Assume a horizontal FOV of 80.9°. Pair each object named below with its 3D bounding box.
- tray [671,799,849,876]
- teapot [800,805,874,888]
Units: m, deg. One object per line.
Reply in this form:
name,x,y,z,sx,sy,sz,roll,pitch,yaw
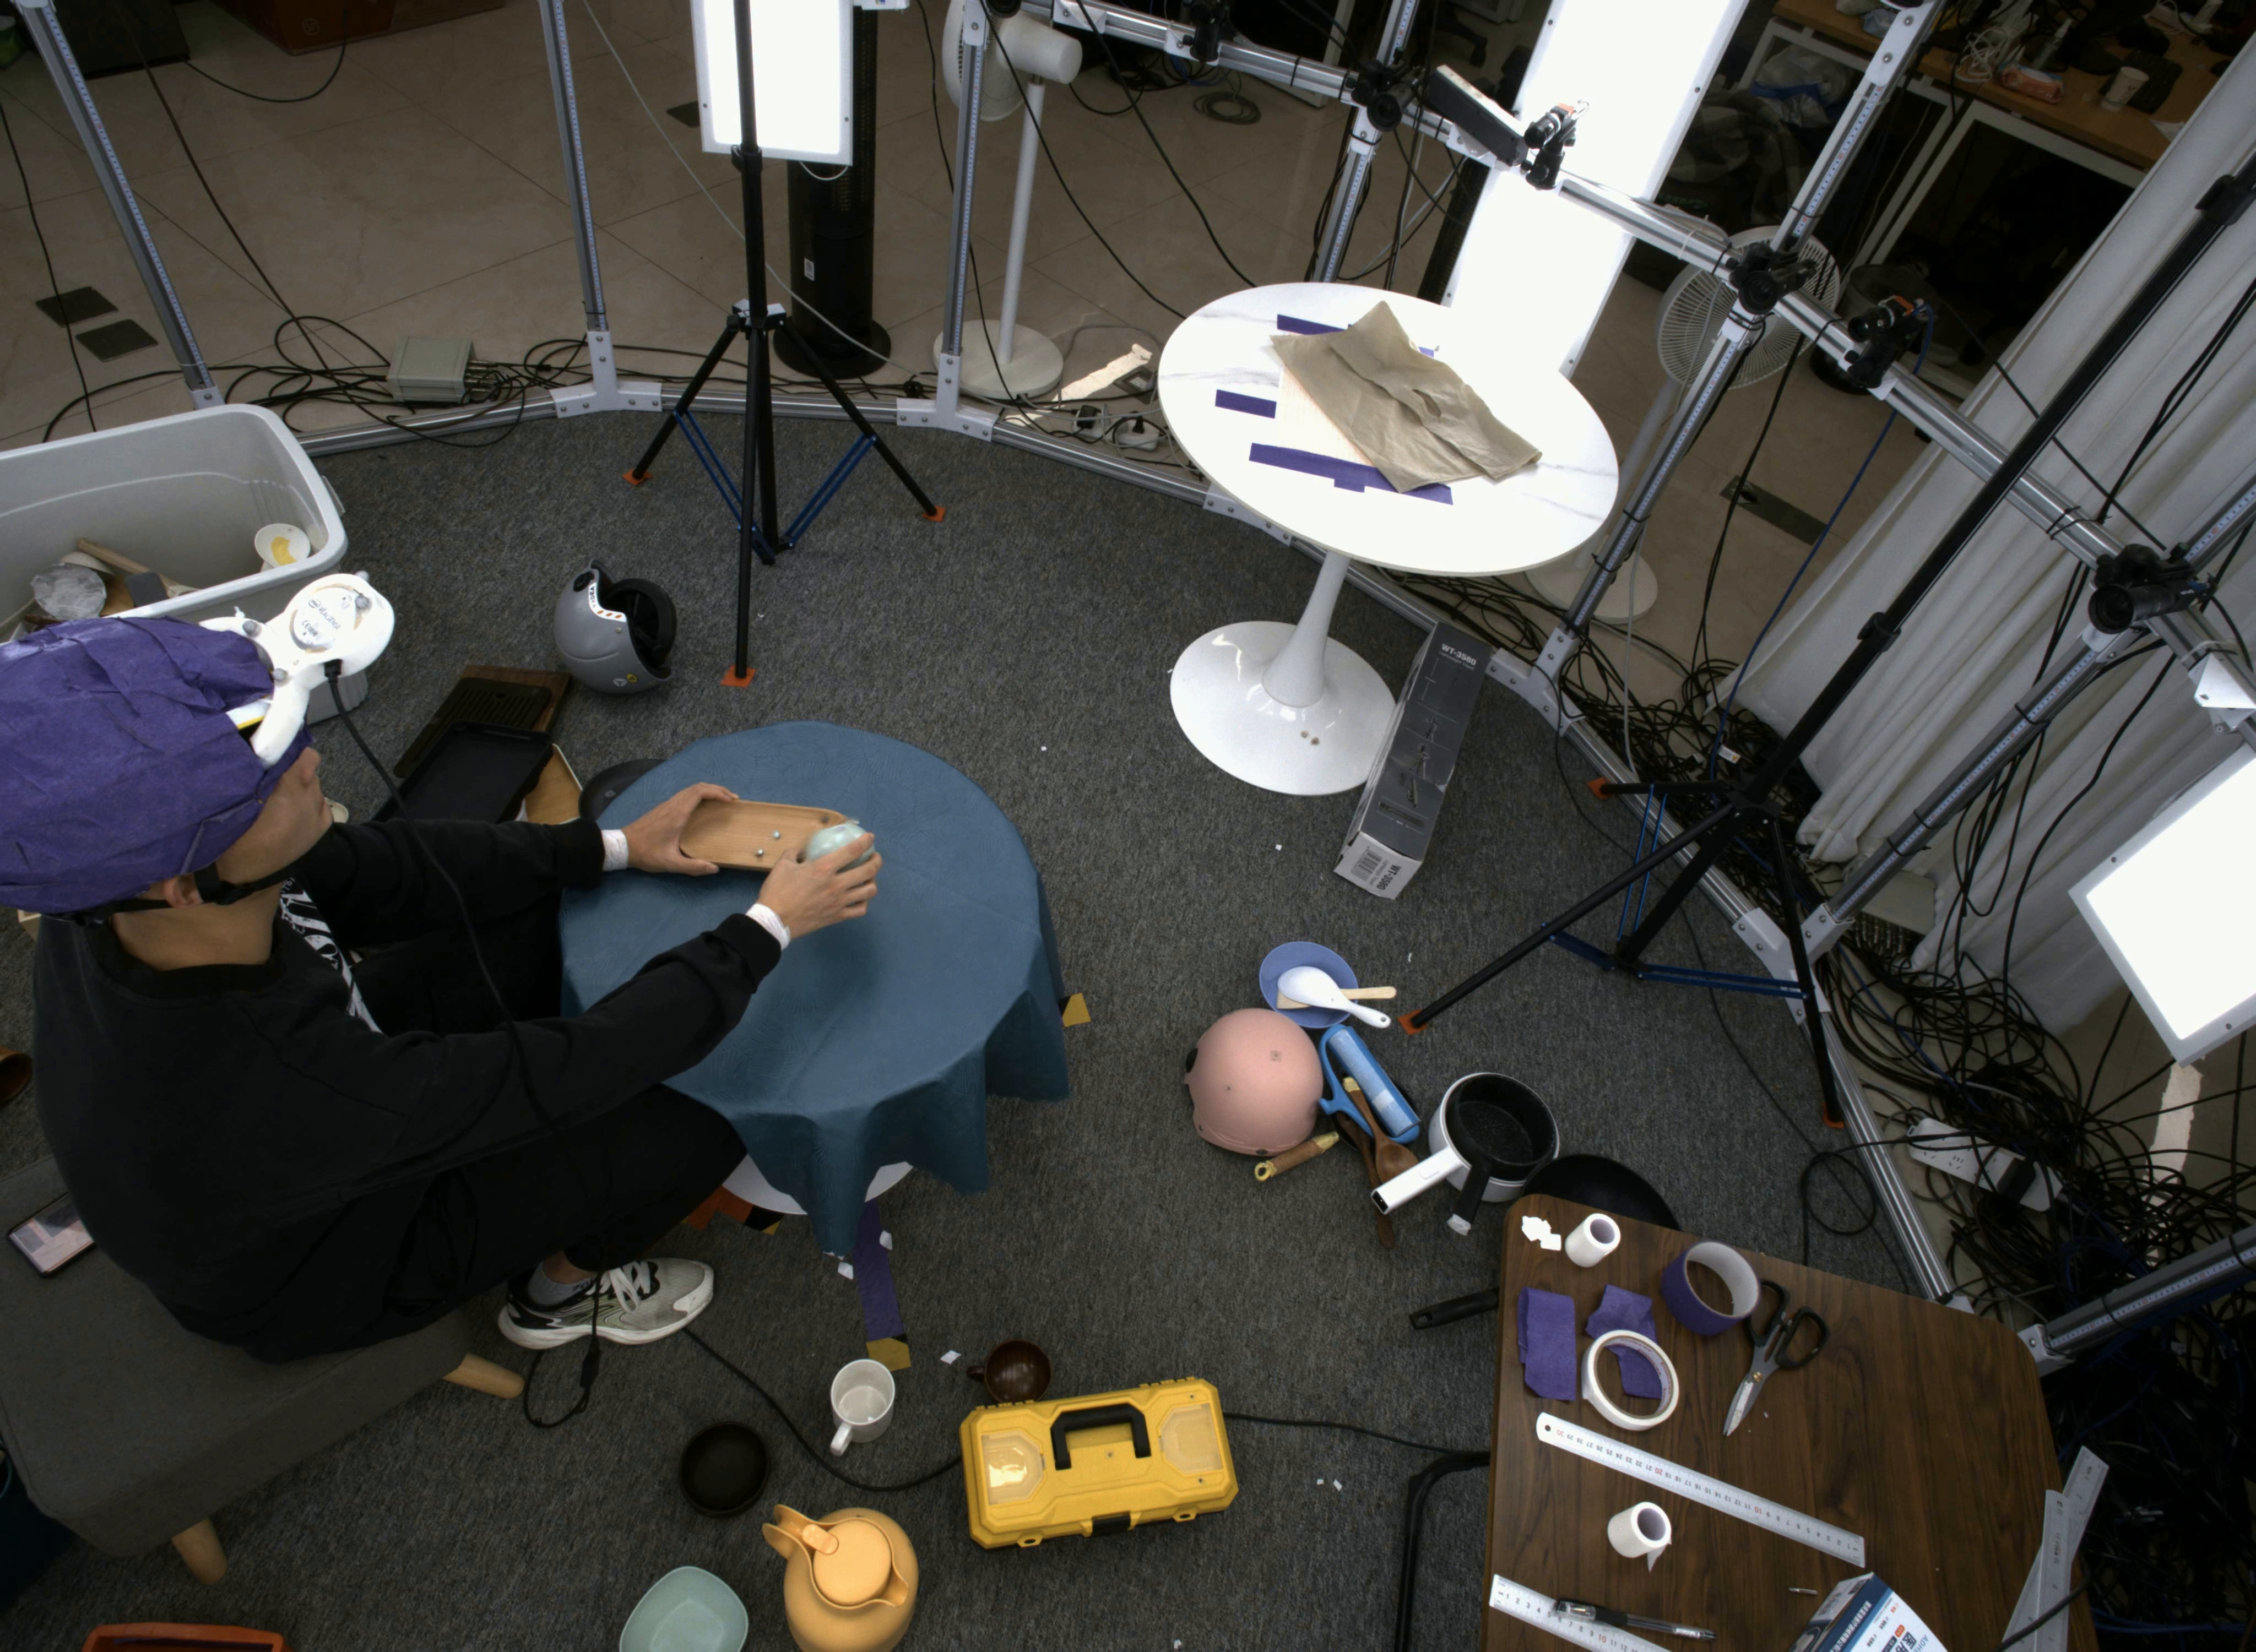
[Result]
tray,-0.467,0.015,1.659,0.231,0.020,0.100,5,54,-13
teapot,-0.351,0.031,1.562,0.089,0.143,0.074,-13,75,-25
